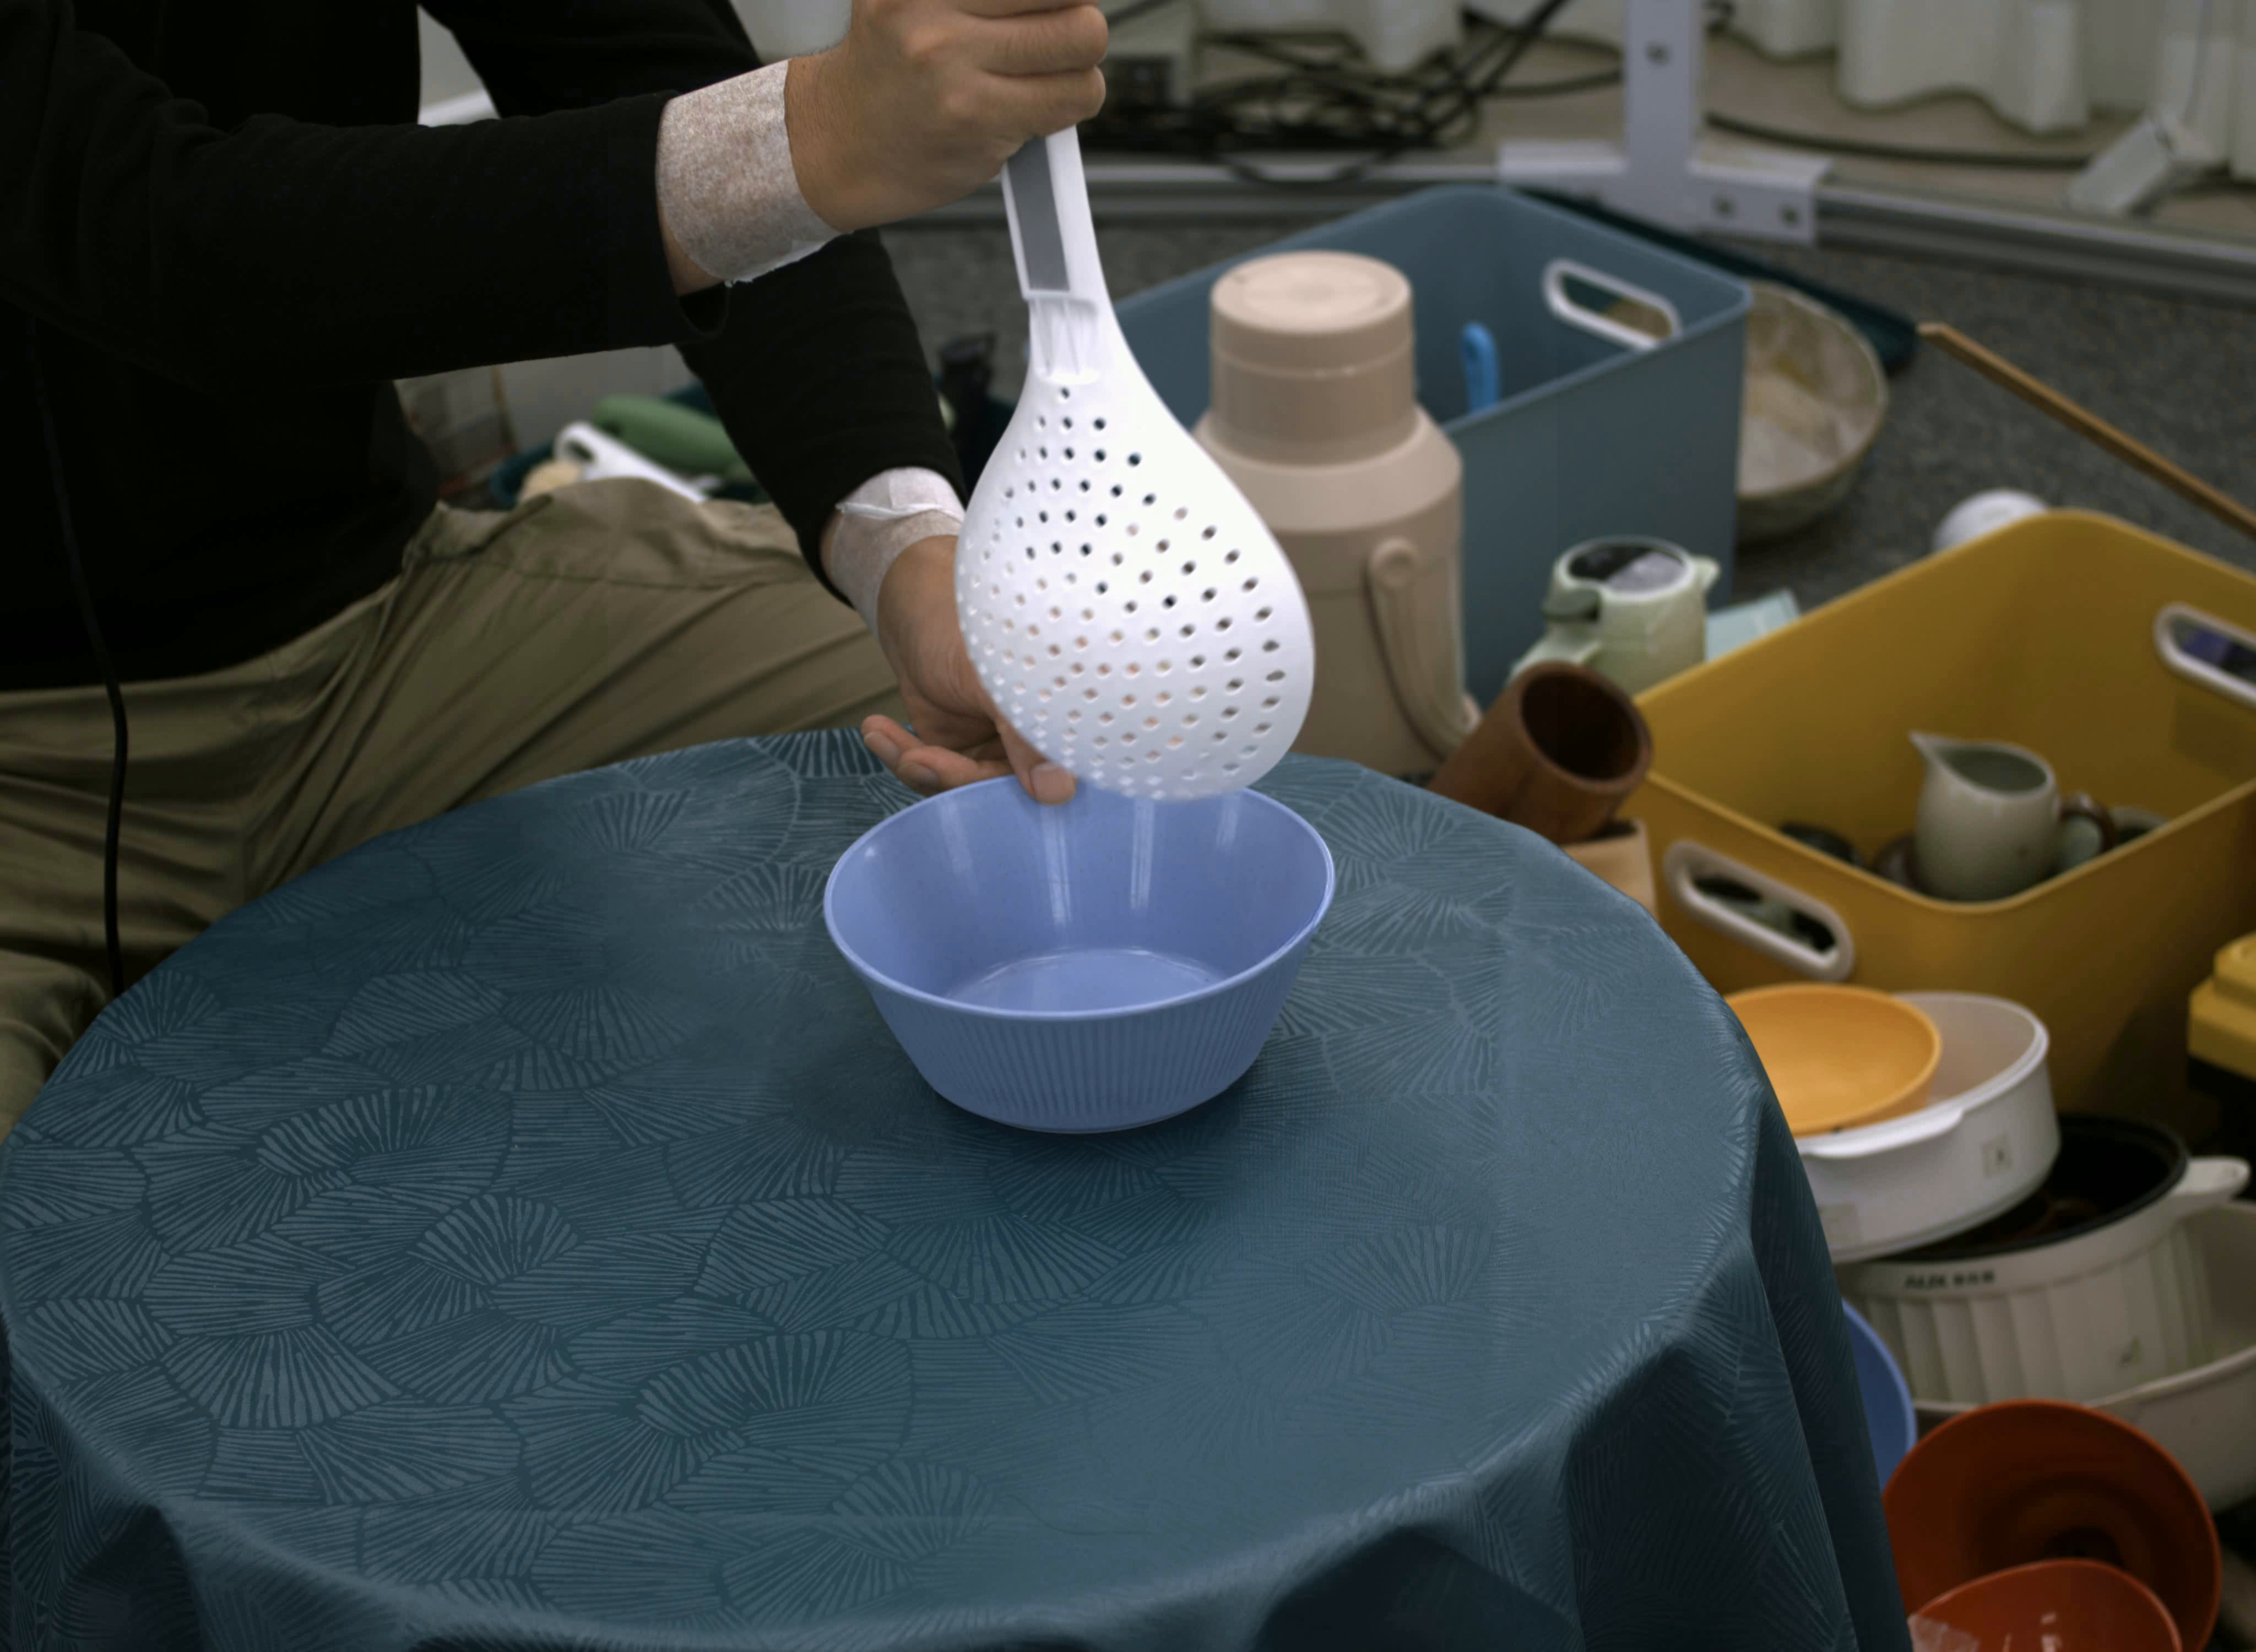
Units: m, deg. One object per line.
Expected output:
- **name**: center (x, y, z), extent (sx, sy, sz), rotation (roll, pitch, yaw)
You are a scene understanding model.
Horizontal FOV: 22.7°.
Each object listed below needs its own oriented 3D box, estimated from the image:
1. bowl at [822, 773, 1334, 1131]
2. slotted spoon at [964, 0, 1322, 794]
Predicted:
- **bowl**: center (-0.015, 0.048, 1.929), extent (0.175, 0.069, 0.178), rotation (-3, 26, 2)
- **slotted spoon**: center (-0.017, -0.165, 1.844), extent (0.135, 0.347, 0.046), rotation (3, 22, 28)
